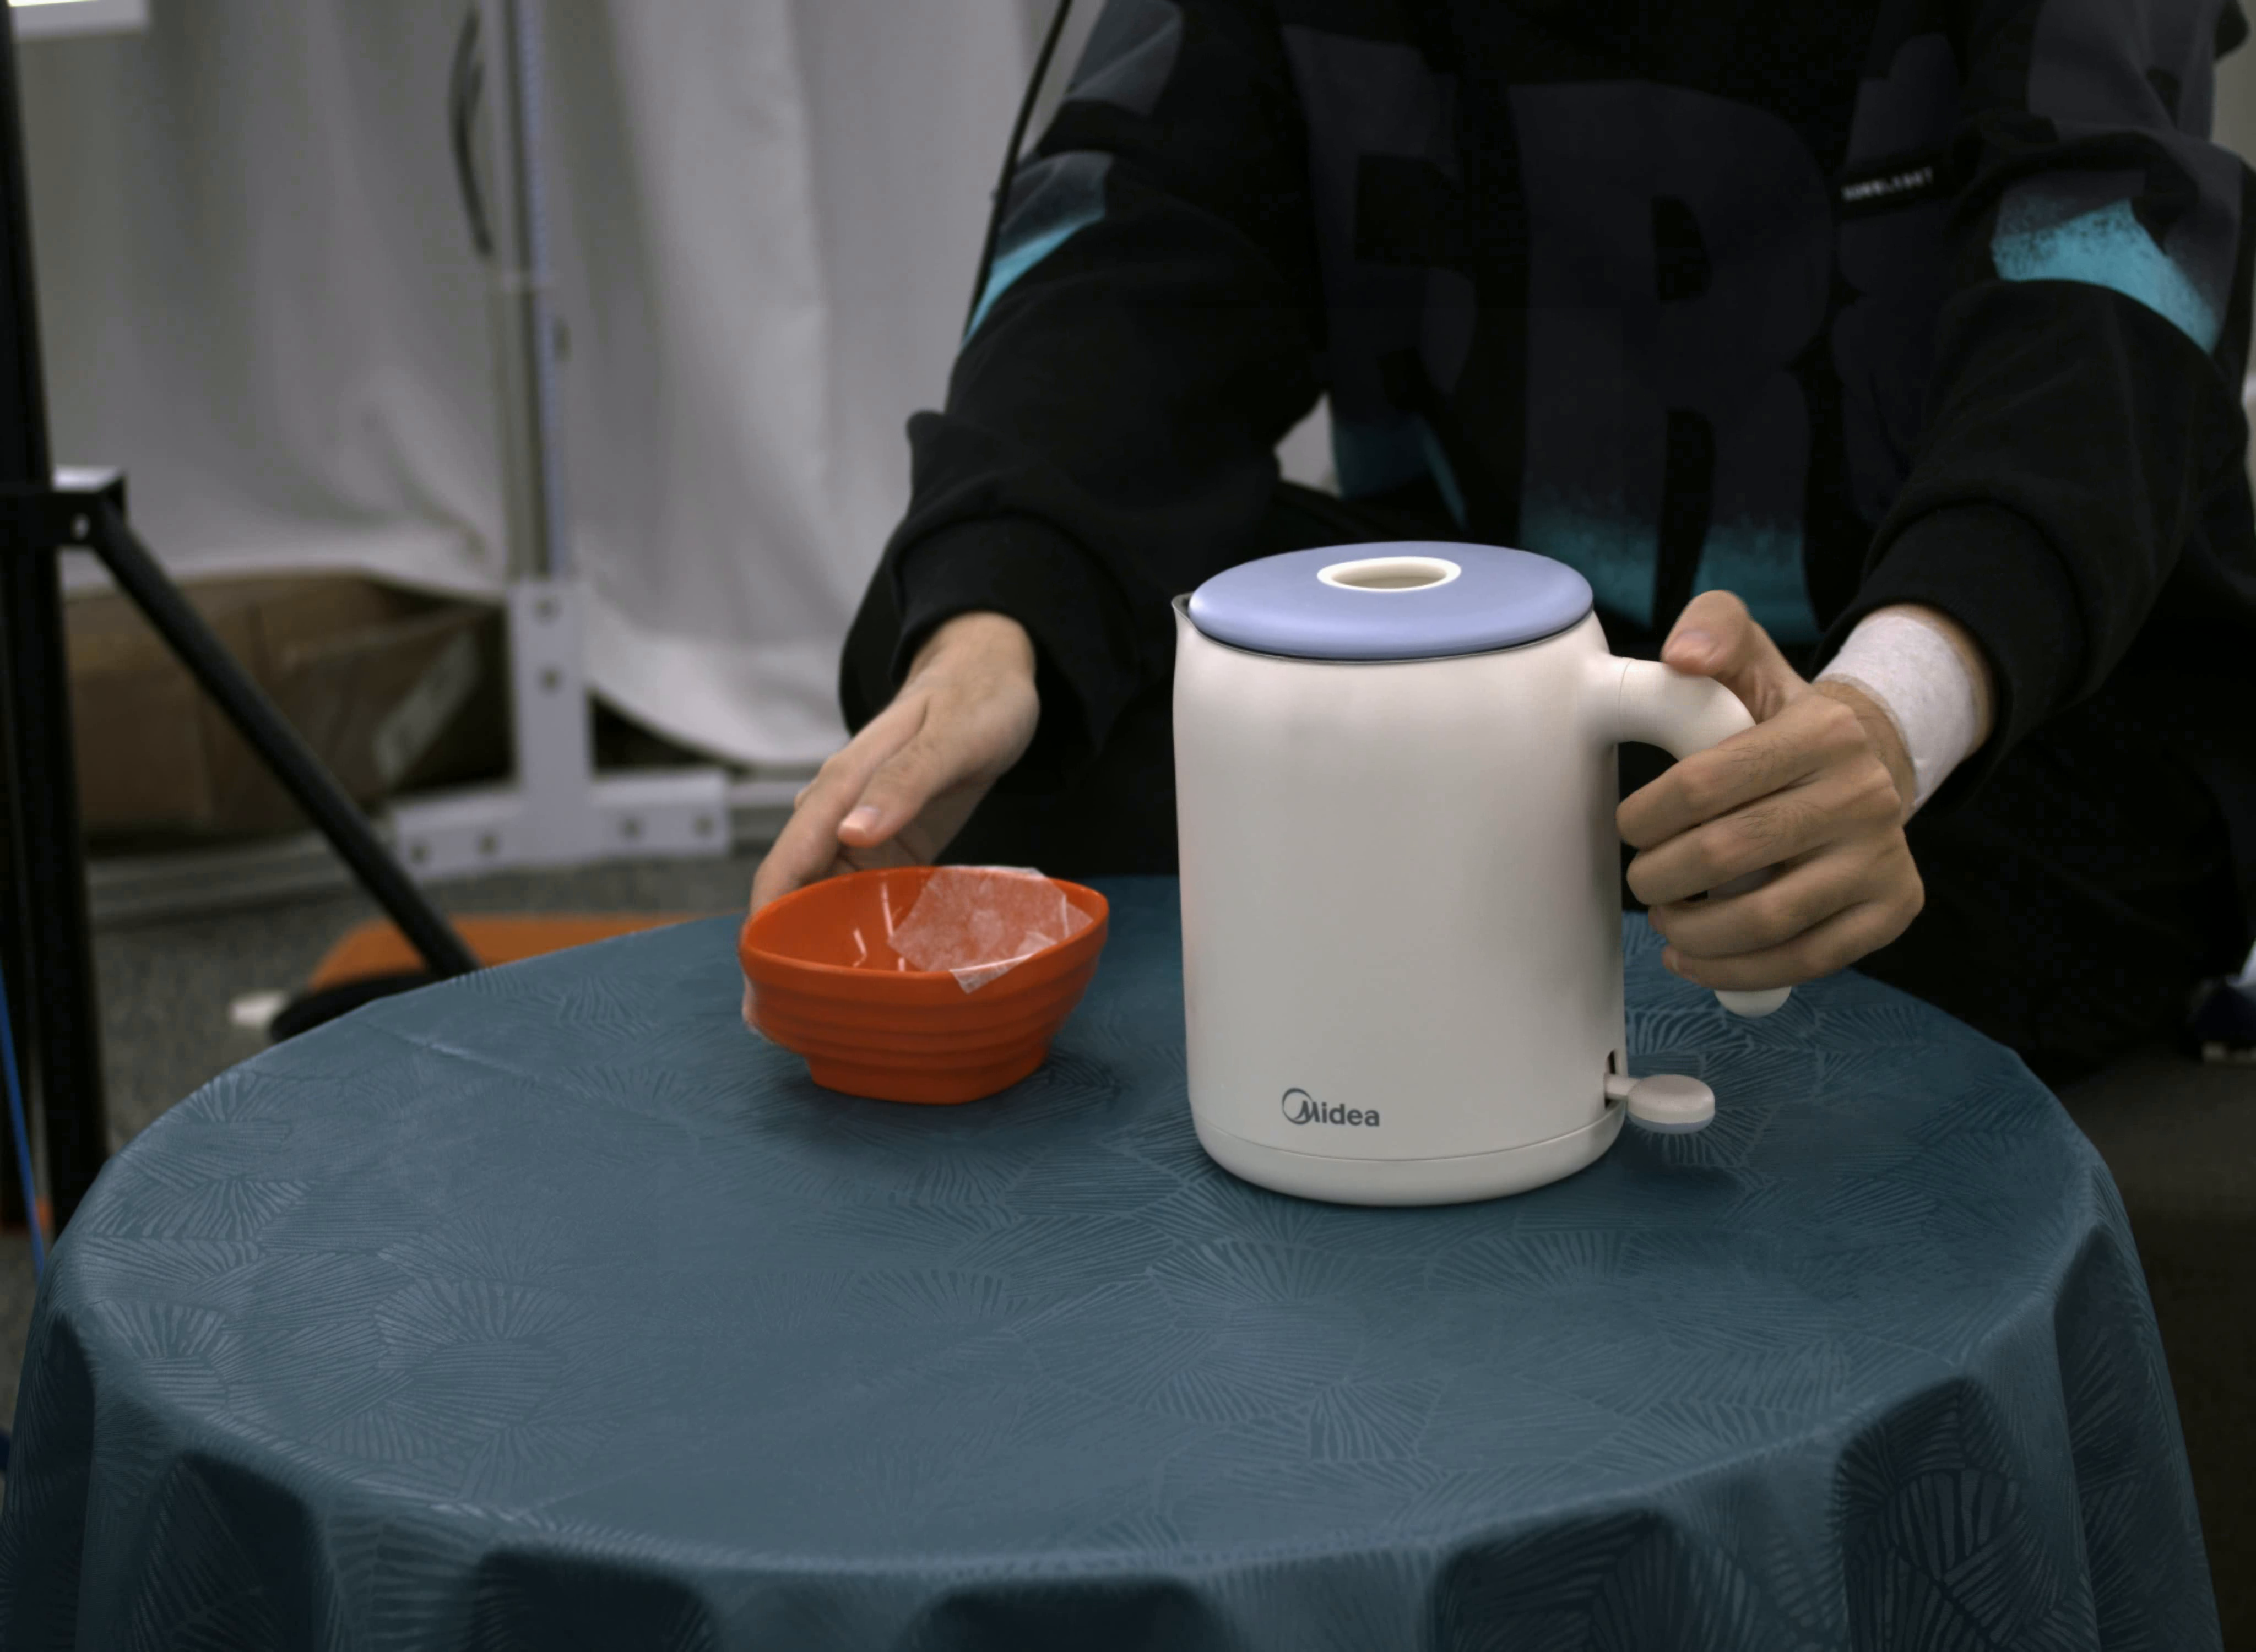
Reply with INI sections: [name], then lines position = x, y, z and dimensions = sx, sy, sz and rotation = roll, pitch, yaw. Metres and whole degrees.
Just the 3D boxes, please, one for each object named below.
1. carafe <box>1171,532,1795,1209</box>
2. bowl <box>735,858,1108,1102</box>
[carafe]
position = 0.103, 0.015, 1.558
dimensions = 0.193, 0.182, 0.130
rotation = 6, 19, 22
[bowl]
position = -0.062, 0.051, 1.671
dimensions = 0.118, 0.051, 0.119
rotation = -6, 17, 0
